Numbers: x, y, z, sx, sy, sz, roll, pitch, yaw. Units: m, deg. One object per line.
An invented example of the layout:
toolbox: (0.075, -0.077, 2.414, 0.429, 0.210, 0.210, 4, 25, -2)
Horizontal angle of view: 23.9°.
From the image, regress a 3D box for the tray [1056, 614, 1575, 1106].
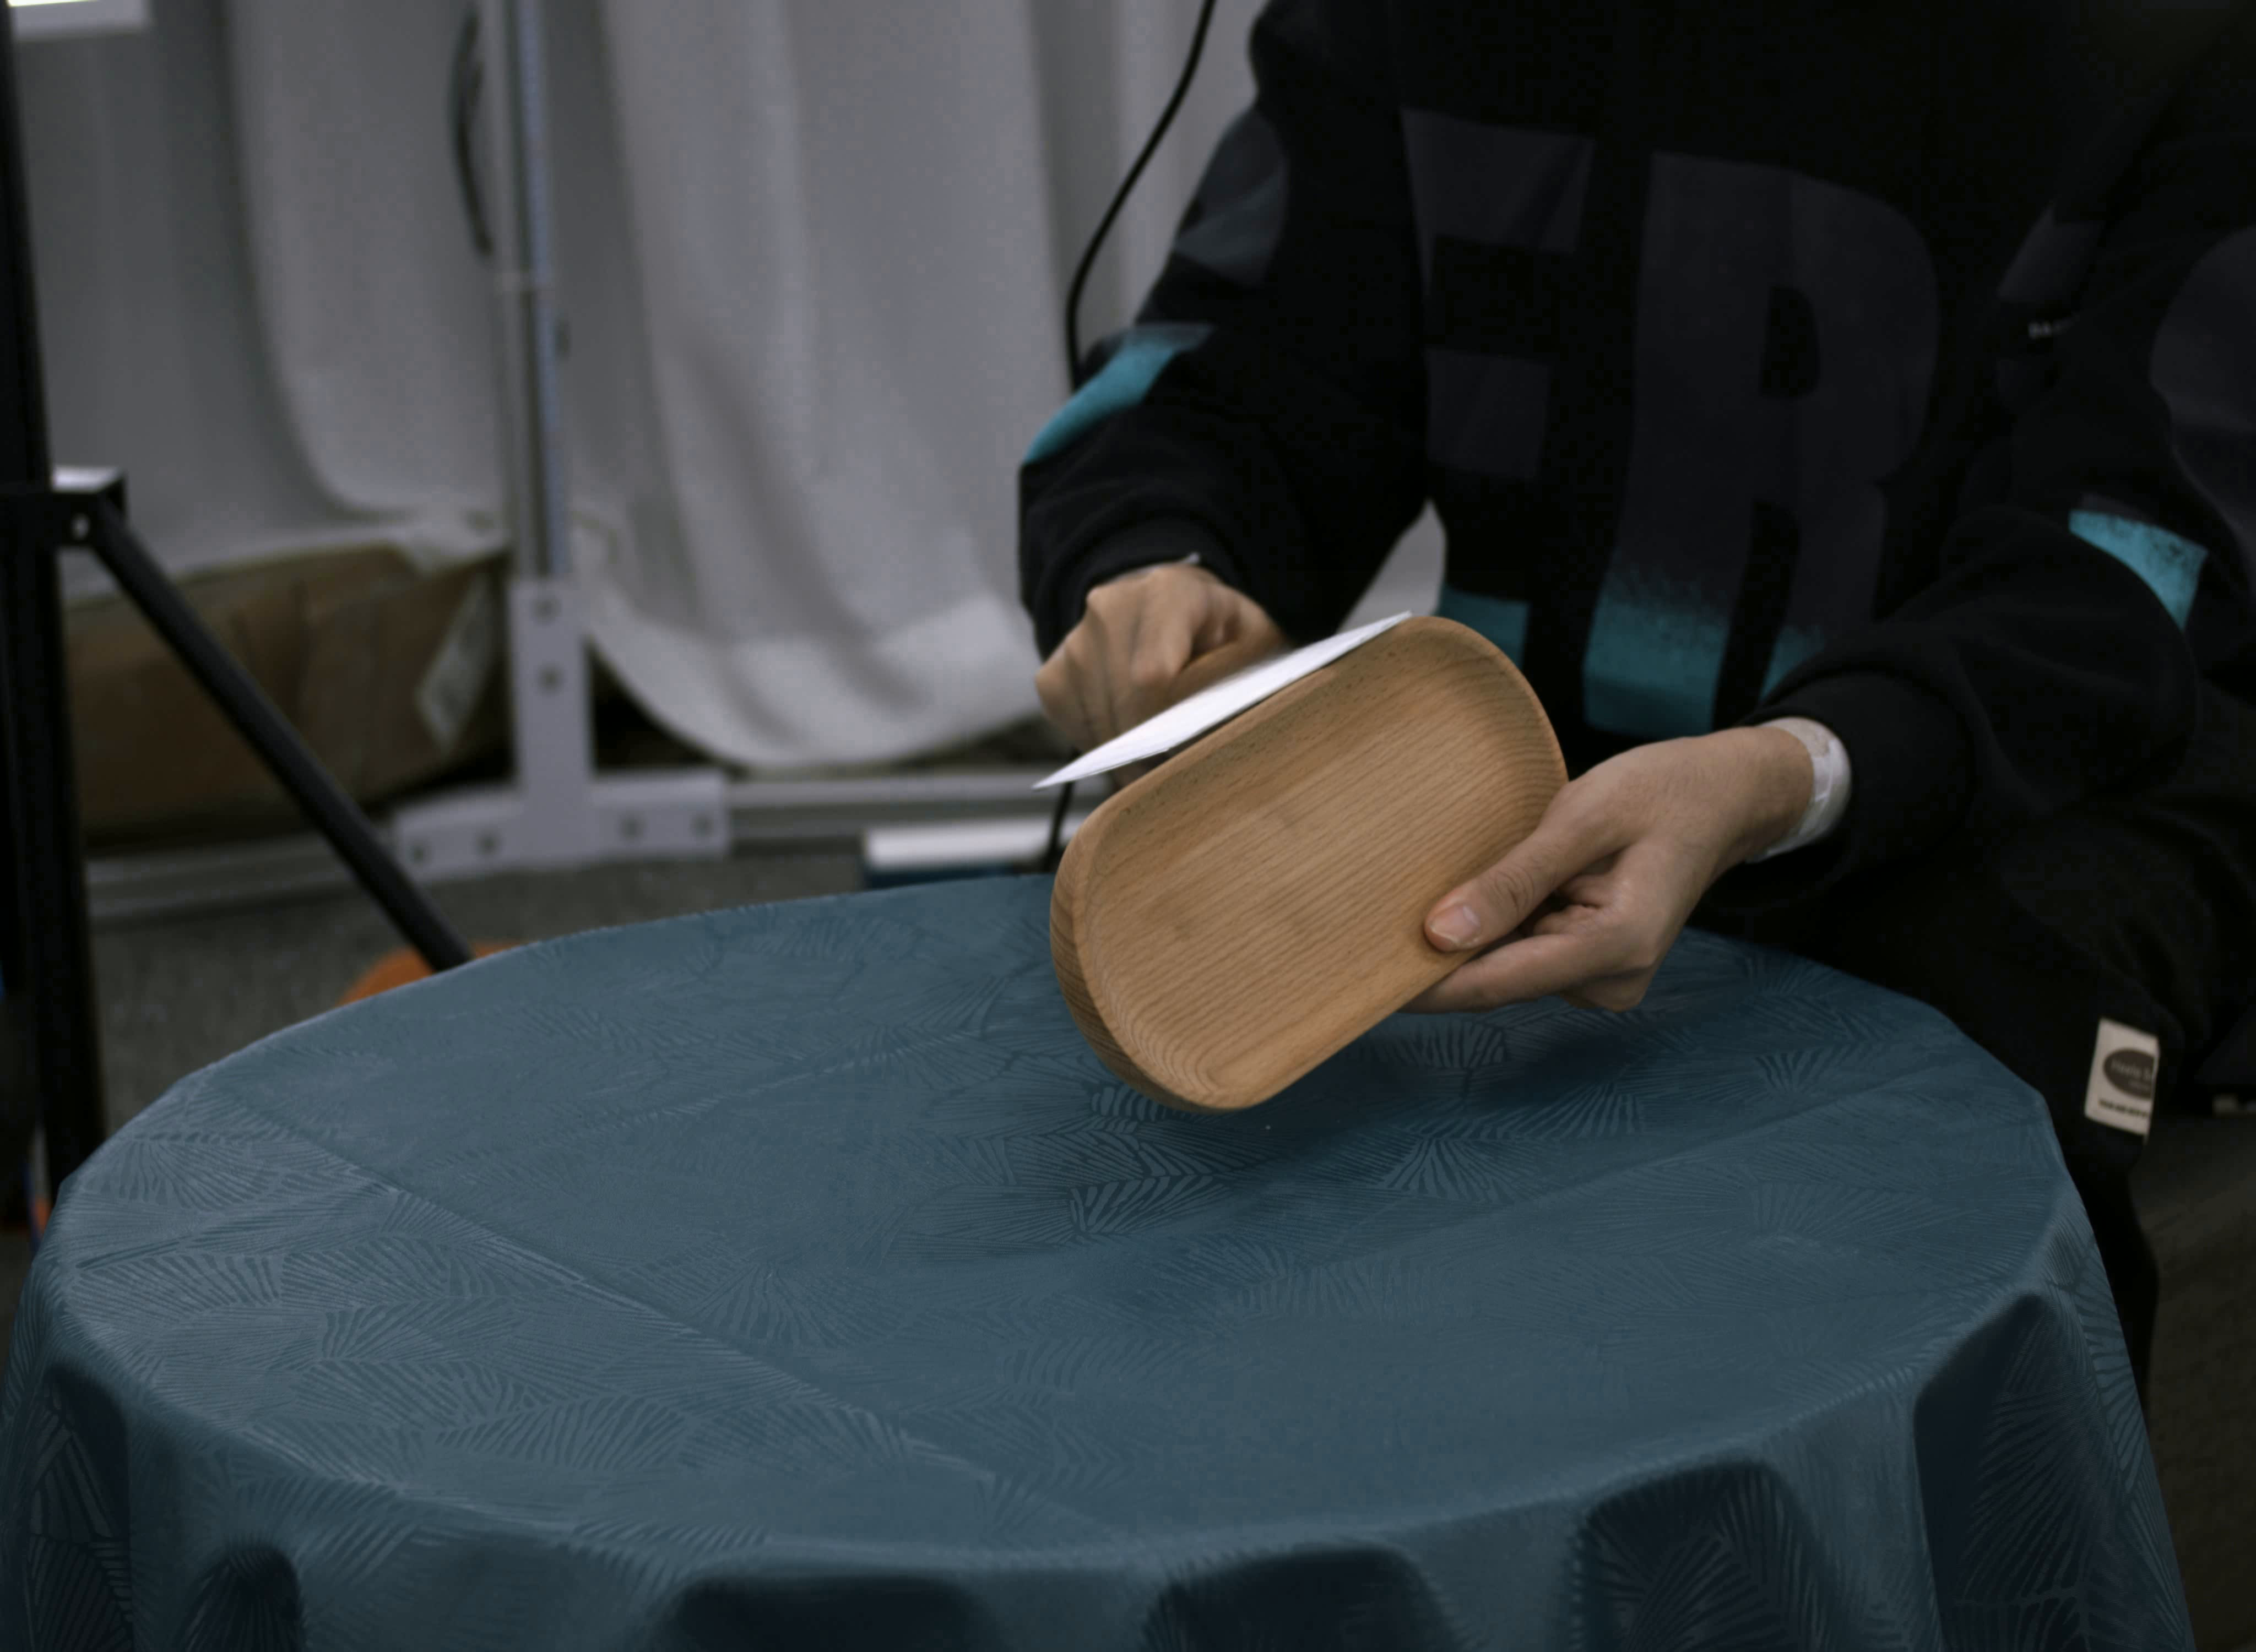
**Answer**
tray: (0.059, 0.009, 1.594, 0.020, 0.102, 0.227, -21, 6, 44)

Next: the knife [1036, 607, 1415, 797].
knife: (0.016, -0.036, 1.751, 0.092, 0.021, 0.308, -30, 4, -13)
